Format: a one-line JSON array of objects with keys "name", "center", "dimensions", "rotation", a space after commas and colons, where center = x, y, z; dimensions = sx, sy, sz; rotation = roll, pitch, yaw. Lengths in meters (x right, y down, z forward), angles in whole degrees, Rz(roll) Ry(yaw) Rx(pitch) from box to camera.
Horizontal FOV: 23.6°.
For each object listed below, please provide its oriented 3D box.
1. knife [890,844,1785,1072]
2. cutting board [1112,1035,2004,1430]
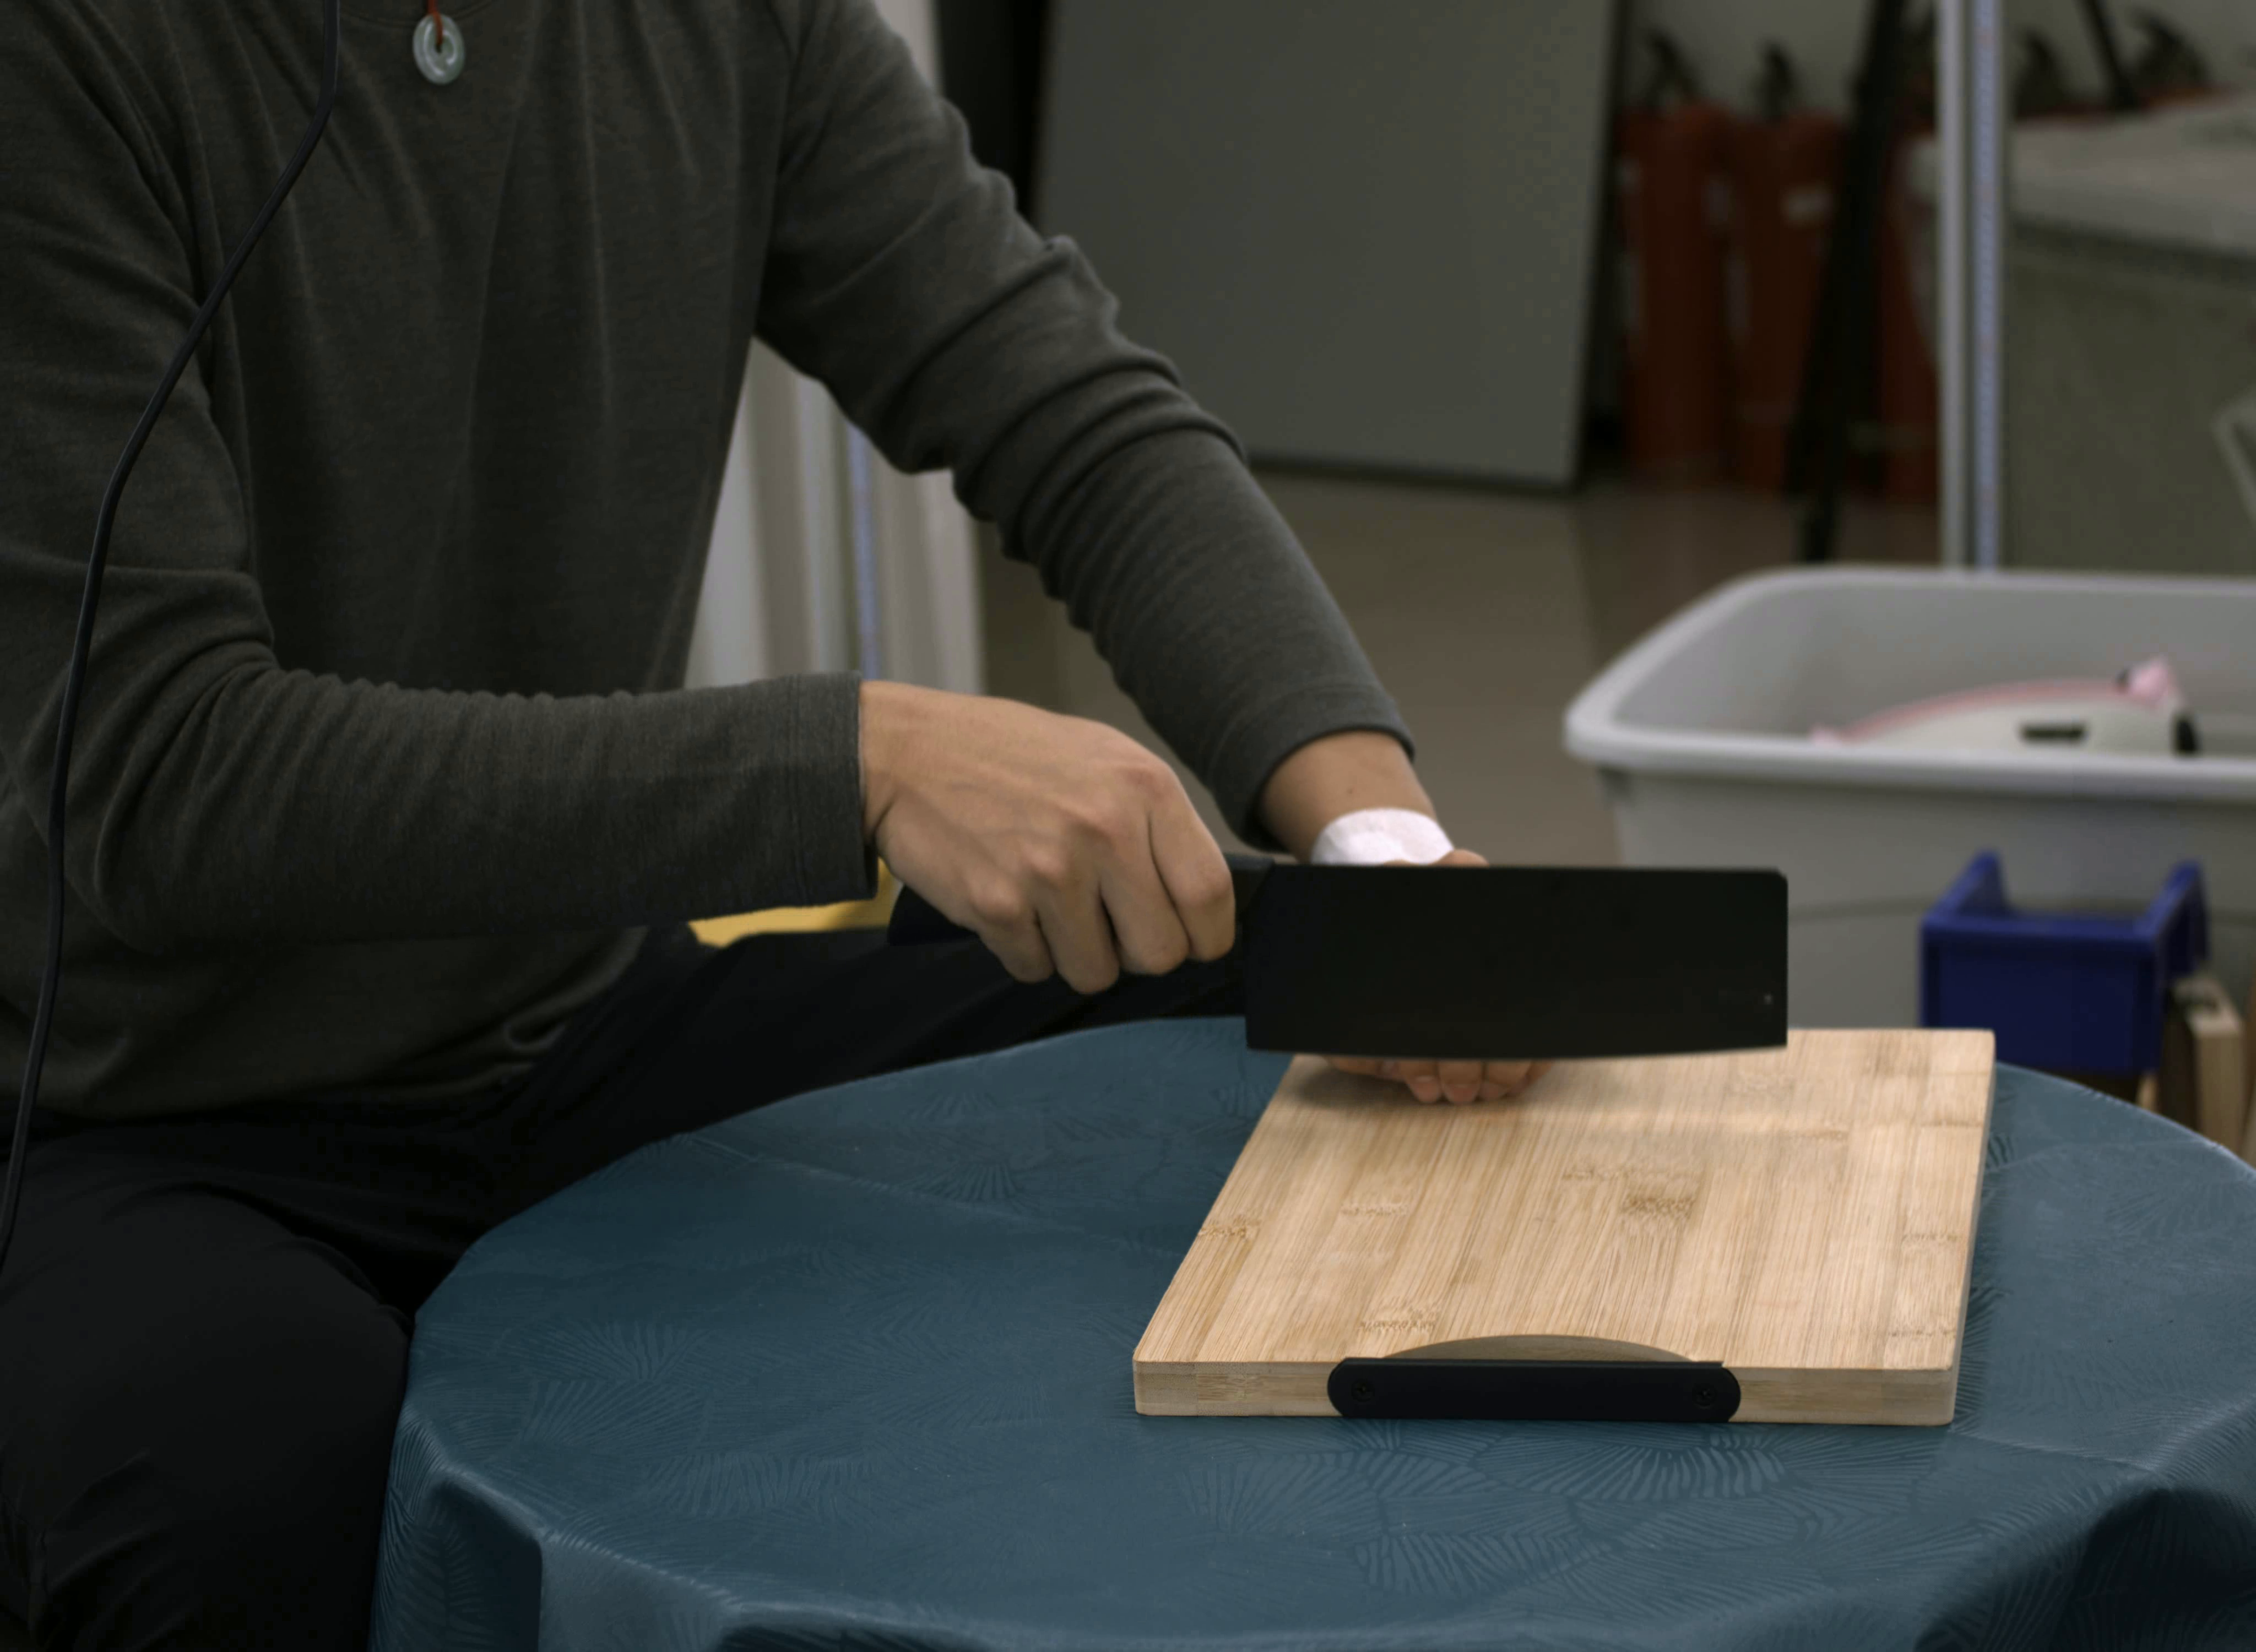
[{"name": "knife", "center": [0.068, 0.041, 1.766], "dimensions": [0.300, 0.082, 0.021], "rotation": [5, 12, 13]}, {"name": "cutting board", "center": [0.147, 0.123, 1.691], "dimensions": [0.249, 0.024, 0.347], "rotation": [-2, 13, 12]}]
